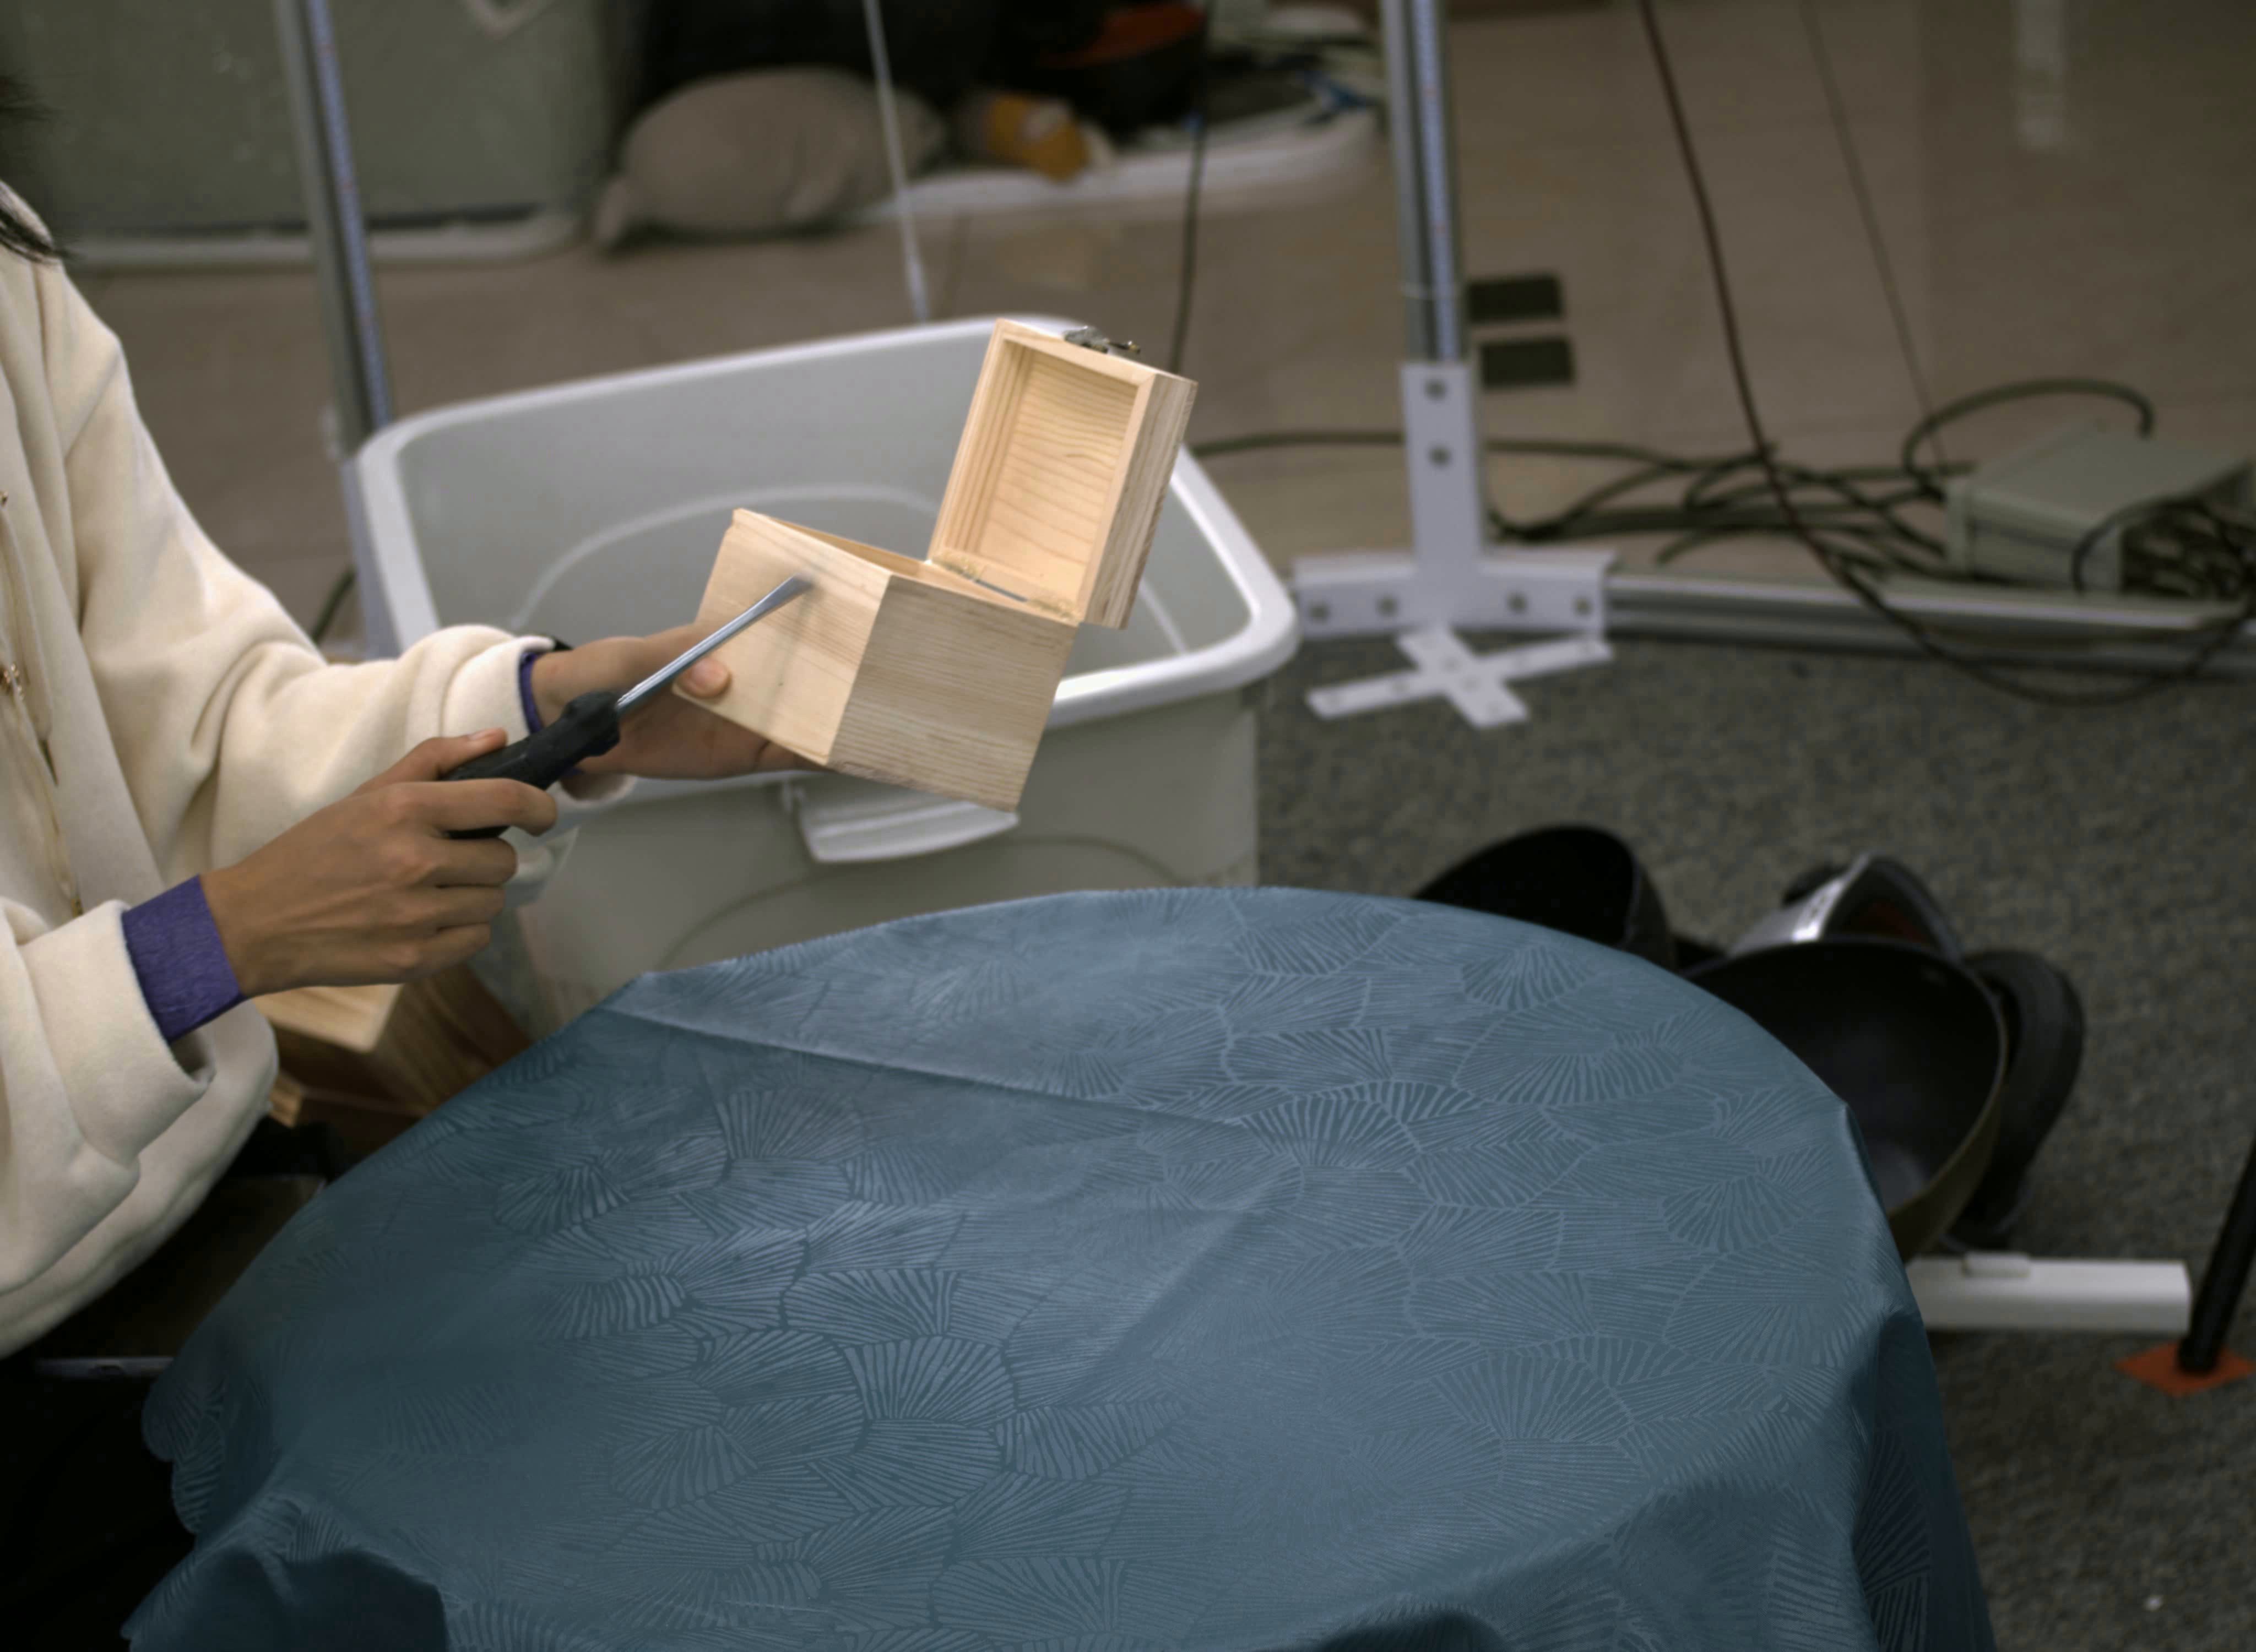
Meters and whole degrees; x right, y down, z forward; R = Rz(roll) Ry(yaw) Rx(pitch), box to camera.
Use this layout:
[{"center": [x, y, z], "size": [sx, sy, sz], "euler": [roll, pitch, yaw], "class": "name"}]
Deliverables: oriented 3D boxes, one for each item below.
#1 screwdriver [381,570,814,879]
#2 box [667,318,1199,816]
[{"center": [-0.194, -0.039, 2.110], "size": [0.196, 0.032, 0.031], "euler": [-32, 33, -18], "class": "screwdriver"}, {"center": [-0.076, -0.112, 2.188], "size": [0.134, 0.185, 0.101], "euler": [14, 10, -44], "class": "box"}]
